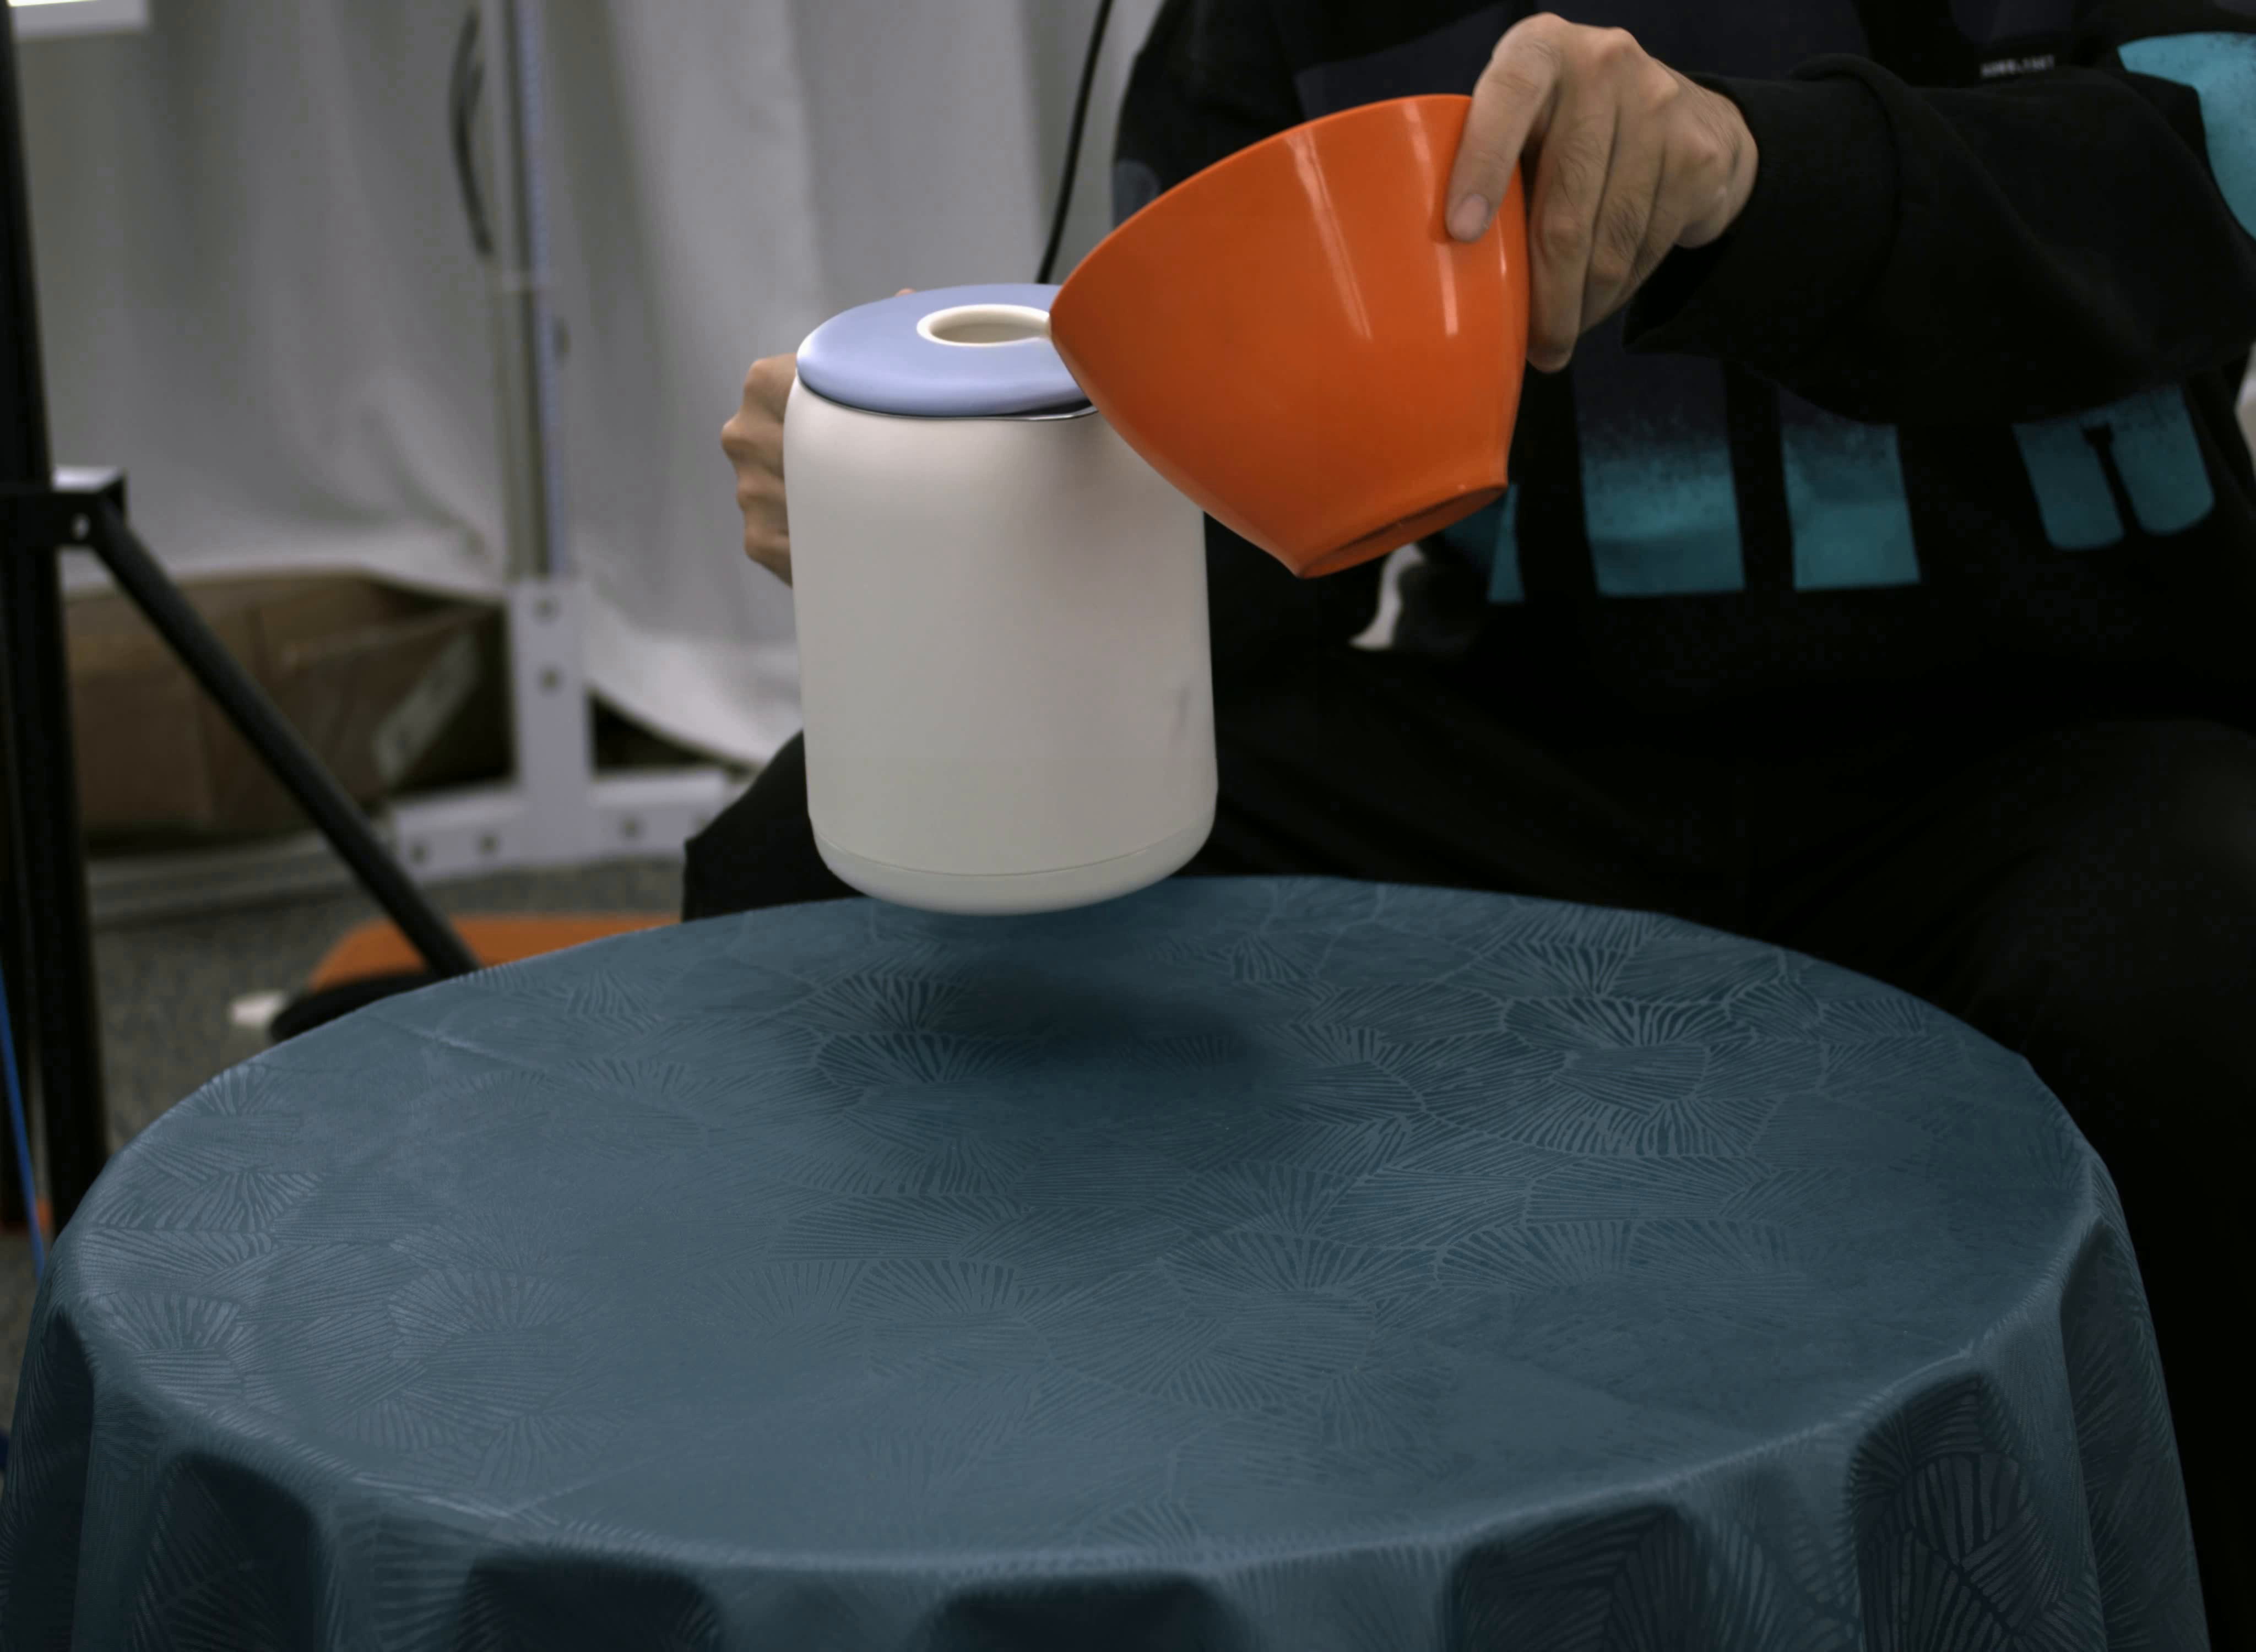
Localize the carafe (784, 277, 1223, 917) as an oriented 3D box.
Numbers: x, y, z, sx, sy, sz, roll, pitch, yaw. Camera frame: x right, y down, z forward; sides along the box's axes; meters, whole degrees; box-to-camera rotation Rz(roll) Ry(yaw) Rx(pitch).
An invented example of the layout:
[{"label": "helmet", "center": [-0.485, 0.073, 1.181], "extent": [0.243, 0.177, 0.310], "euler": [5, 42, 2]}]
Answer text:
[{"label": "carafe", "center": [-0.050, -0.080, 1.705], "extent": [0.130, 0.182, 0.195], "euler": [-14, 21, -24]}]

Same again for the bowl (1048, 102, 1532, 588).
[{"label": "bowl", "center": [0.060, -0.130, 1.523], "extent": [0.147, 0.105, 0.148], "euler": [-22, -6, -4]}]
